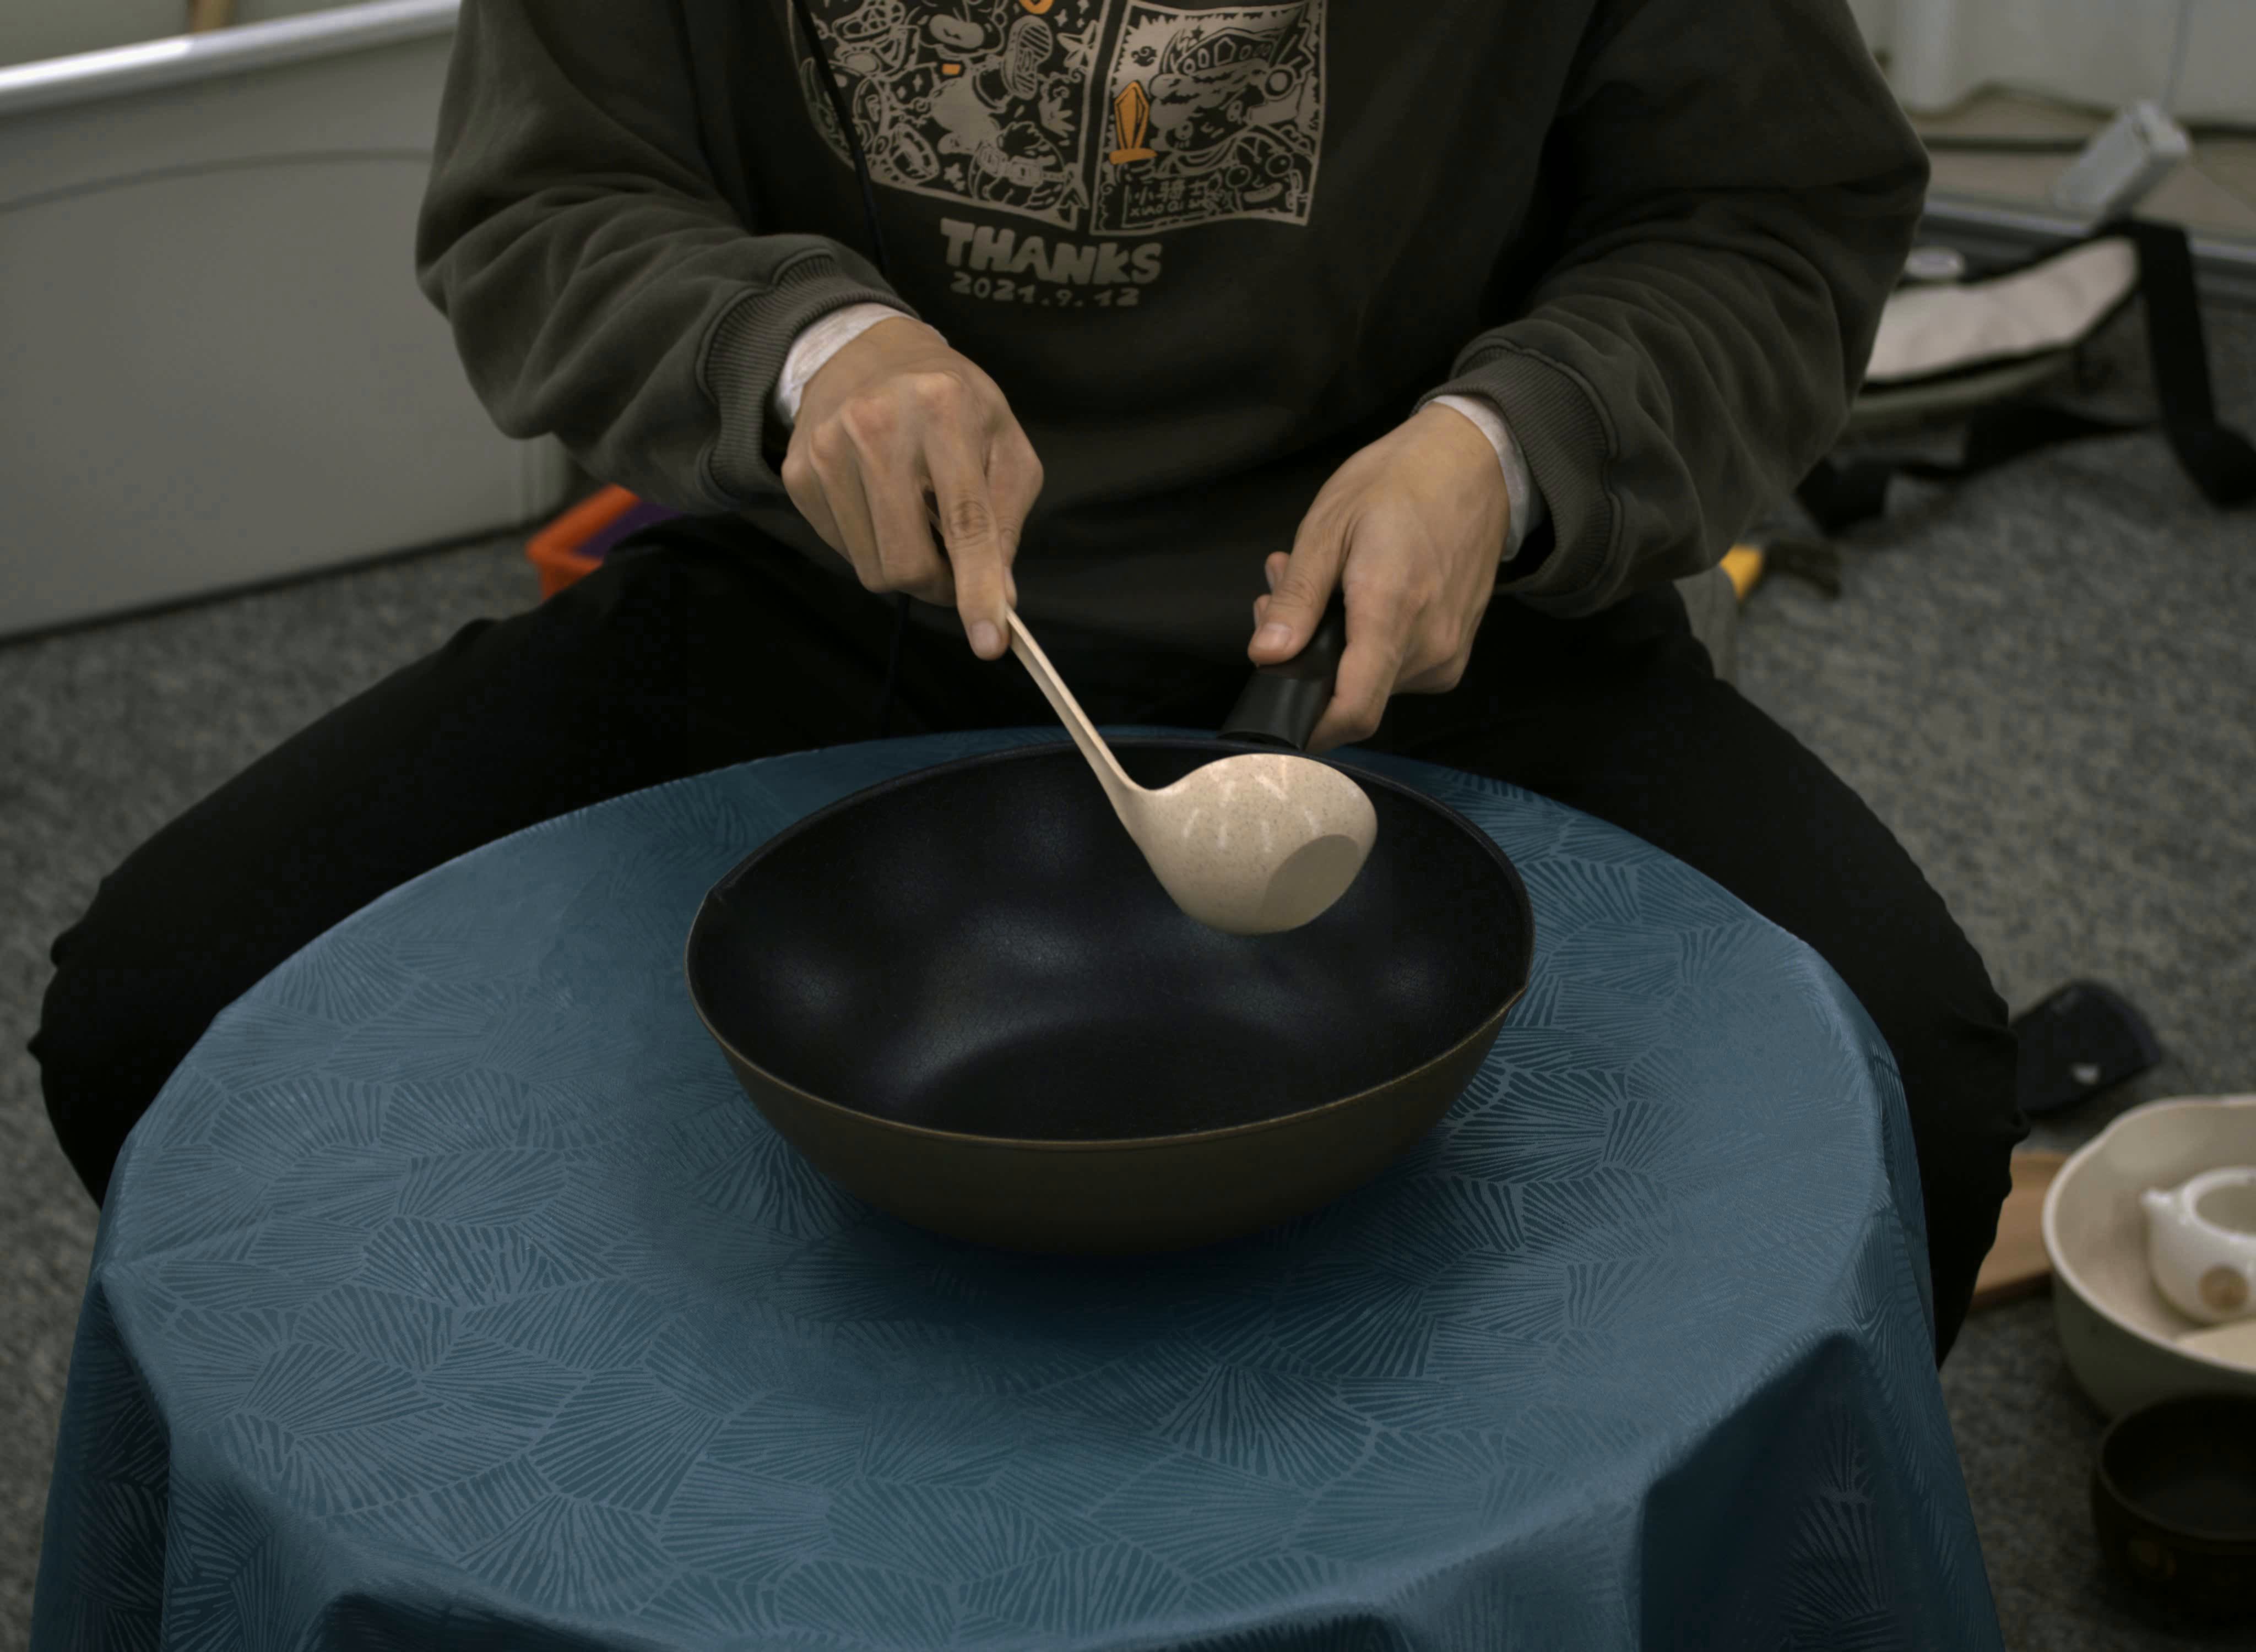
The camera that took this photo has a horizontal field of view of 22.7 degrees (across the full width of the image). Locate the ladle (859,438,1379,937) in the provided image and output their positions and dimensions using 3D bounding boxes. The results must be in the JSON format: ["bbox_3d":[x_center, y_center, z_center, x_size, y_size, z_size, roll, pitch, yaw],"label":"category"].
[{"bbox_3d":[-0.003,-0.063,1.917,0.073,0.071,0.257,-26,54,-13],"label":"ladle"}]

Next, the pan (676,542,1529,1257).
[{"bbox_3d":[0.024,0.027,1.951,0.286,0.086,0.471,7,28,18],"label":"pan"}]
